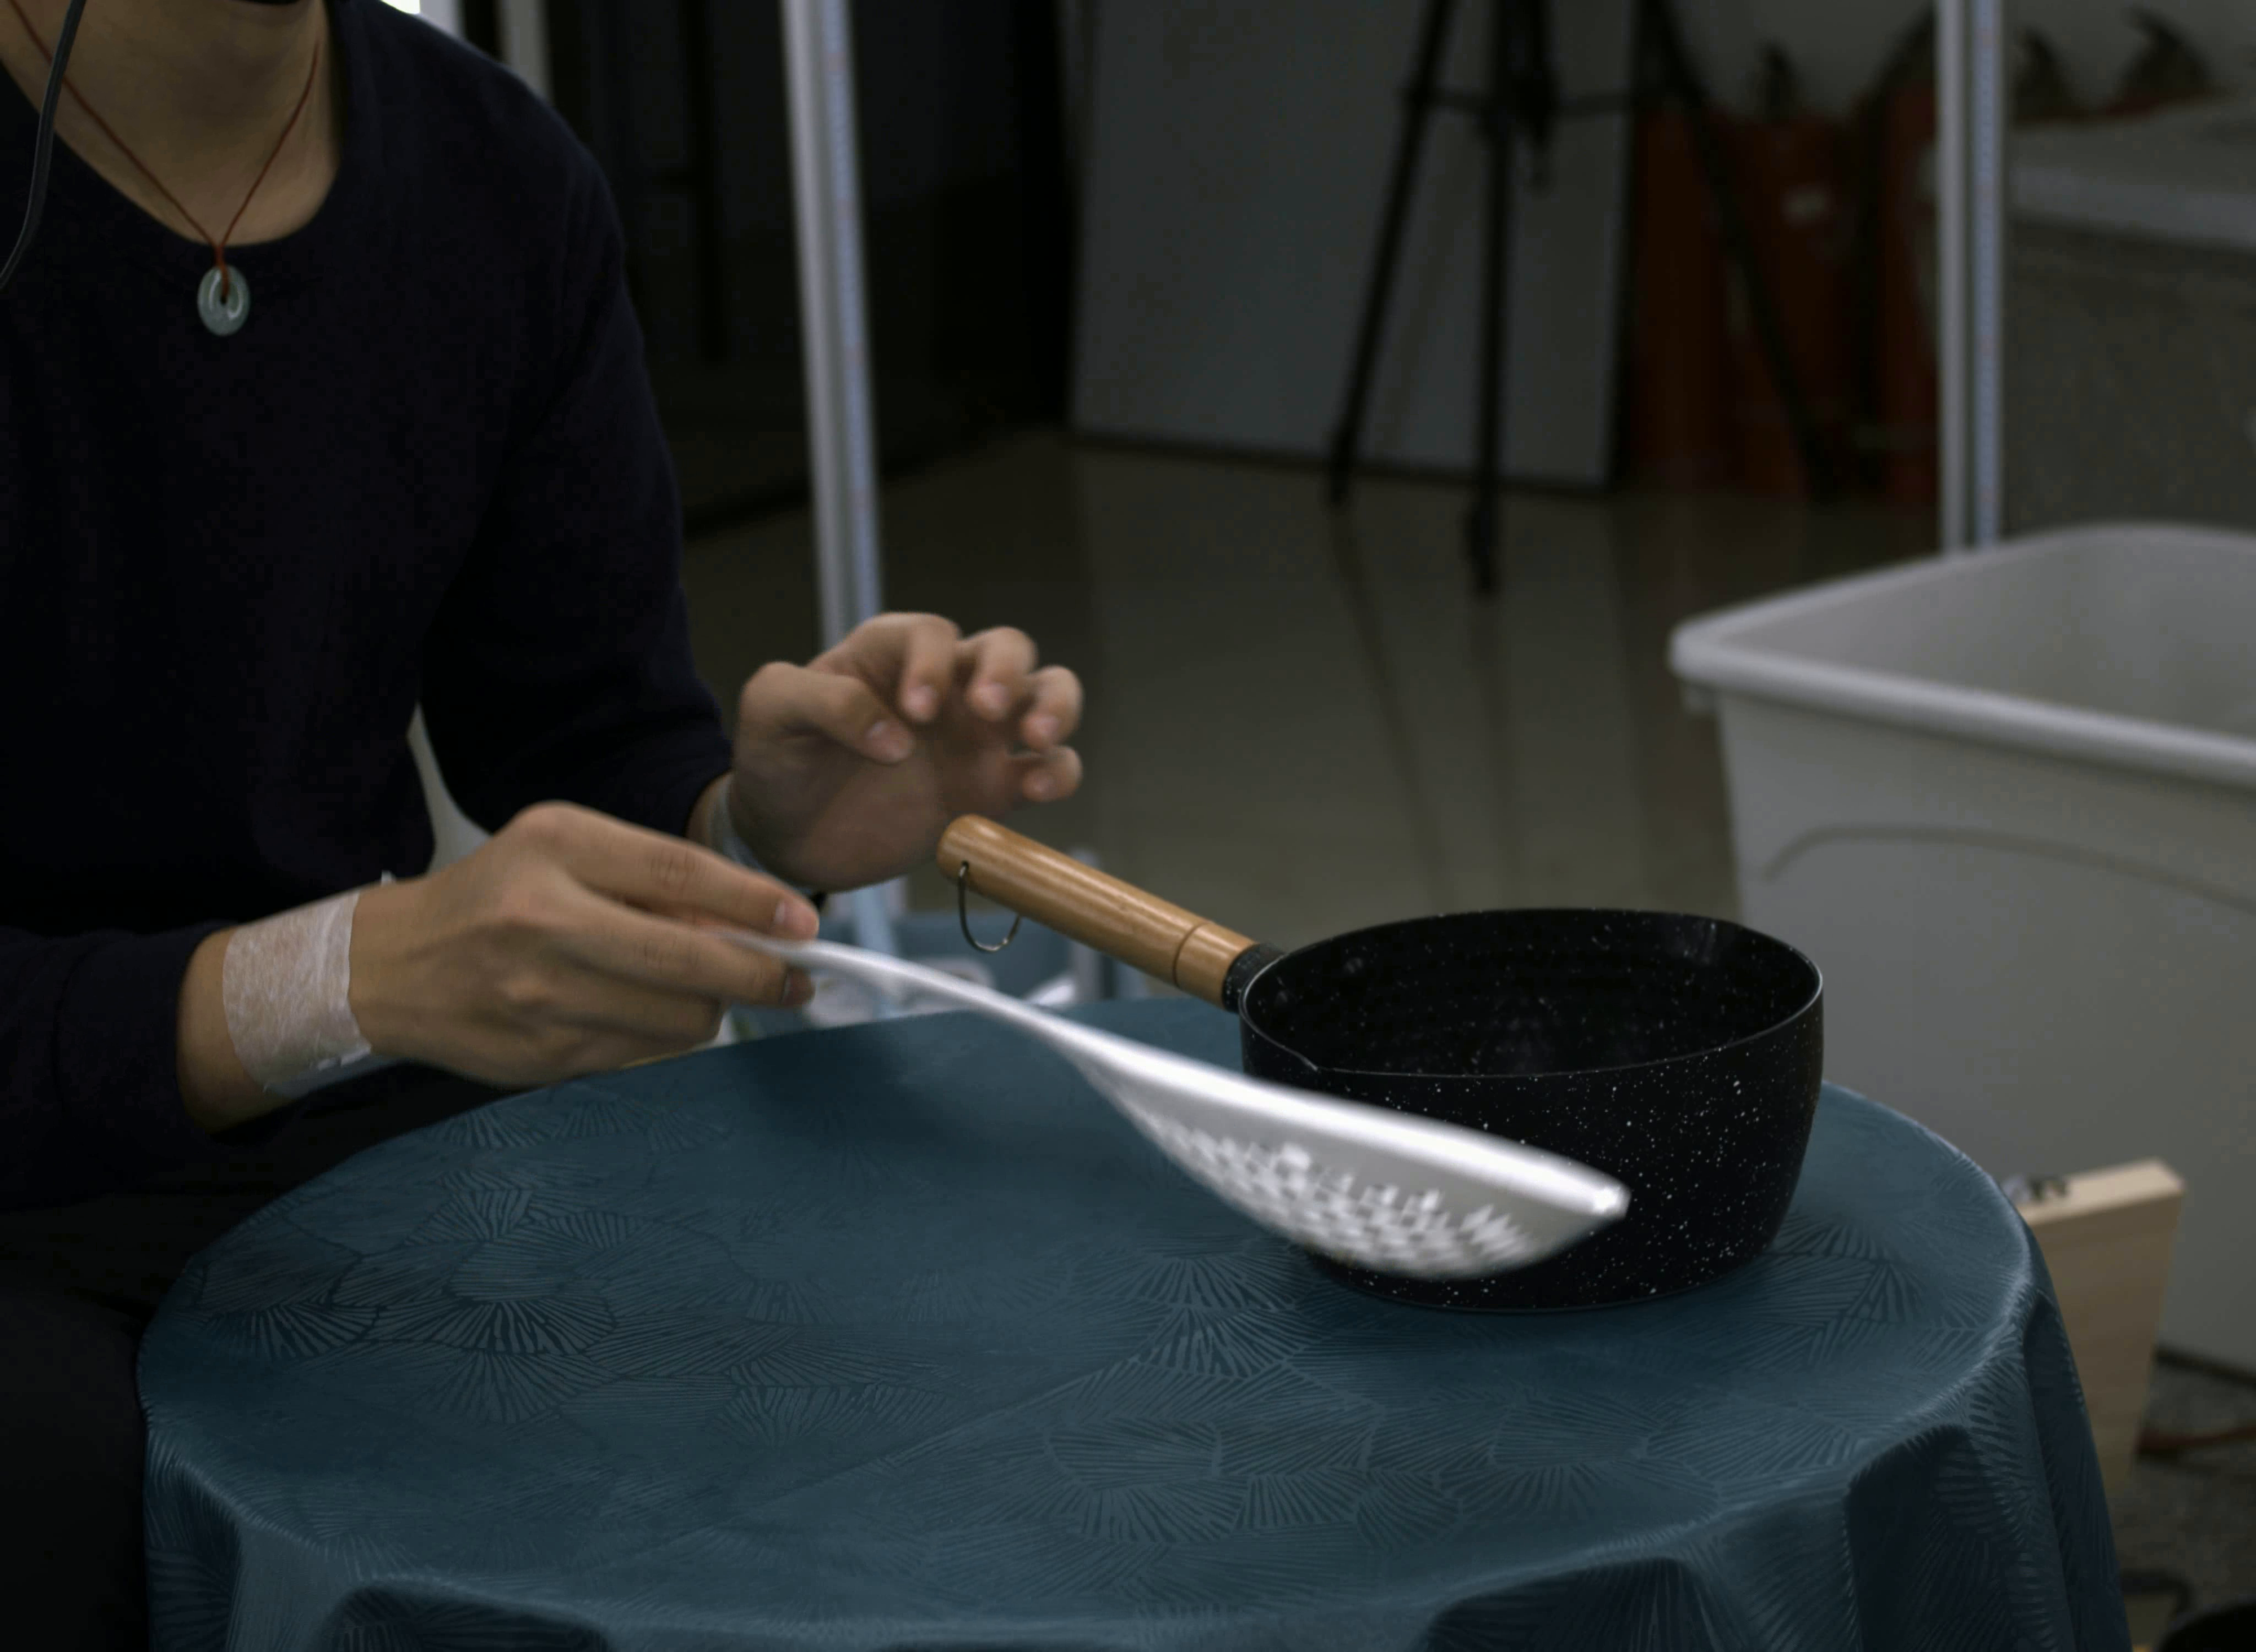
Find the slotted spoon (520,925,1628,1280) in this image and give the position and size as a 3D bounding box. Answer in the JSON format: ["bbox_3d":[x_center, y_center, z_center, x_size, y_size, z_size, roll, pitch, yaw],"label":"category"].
[{"bbox_3d":[-0.023,0.067,1.527,0.349,0.051,0.134,21,3,28],"label":"slotted spoon"}]

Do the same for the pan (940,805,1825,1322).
[{"bbox_3d":[0.068,0.069,1.736,0.345,0.109,0.203,10,20,41],"label":"pan"}]
